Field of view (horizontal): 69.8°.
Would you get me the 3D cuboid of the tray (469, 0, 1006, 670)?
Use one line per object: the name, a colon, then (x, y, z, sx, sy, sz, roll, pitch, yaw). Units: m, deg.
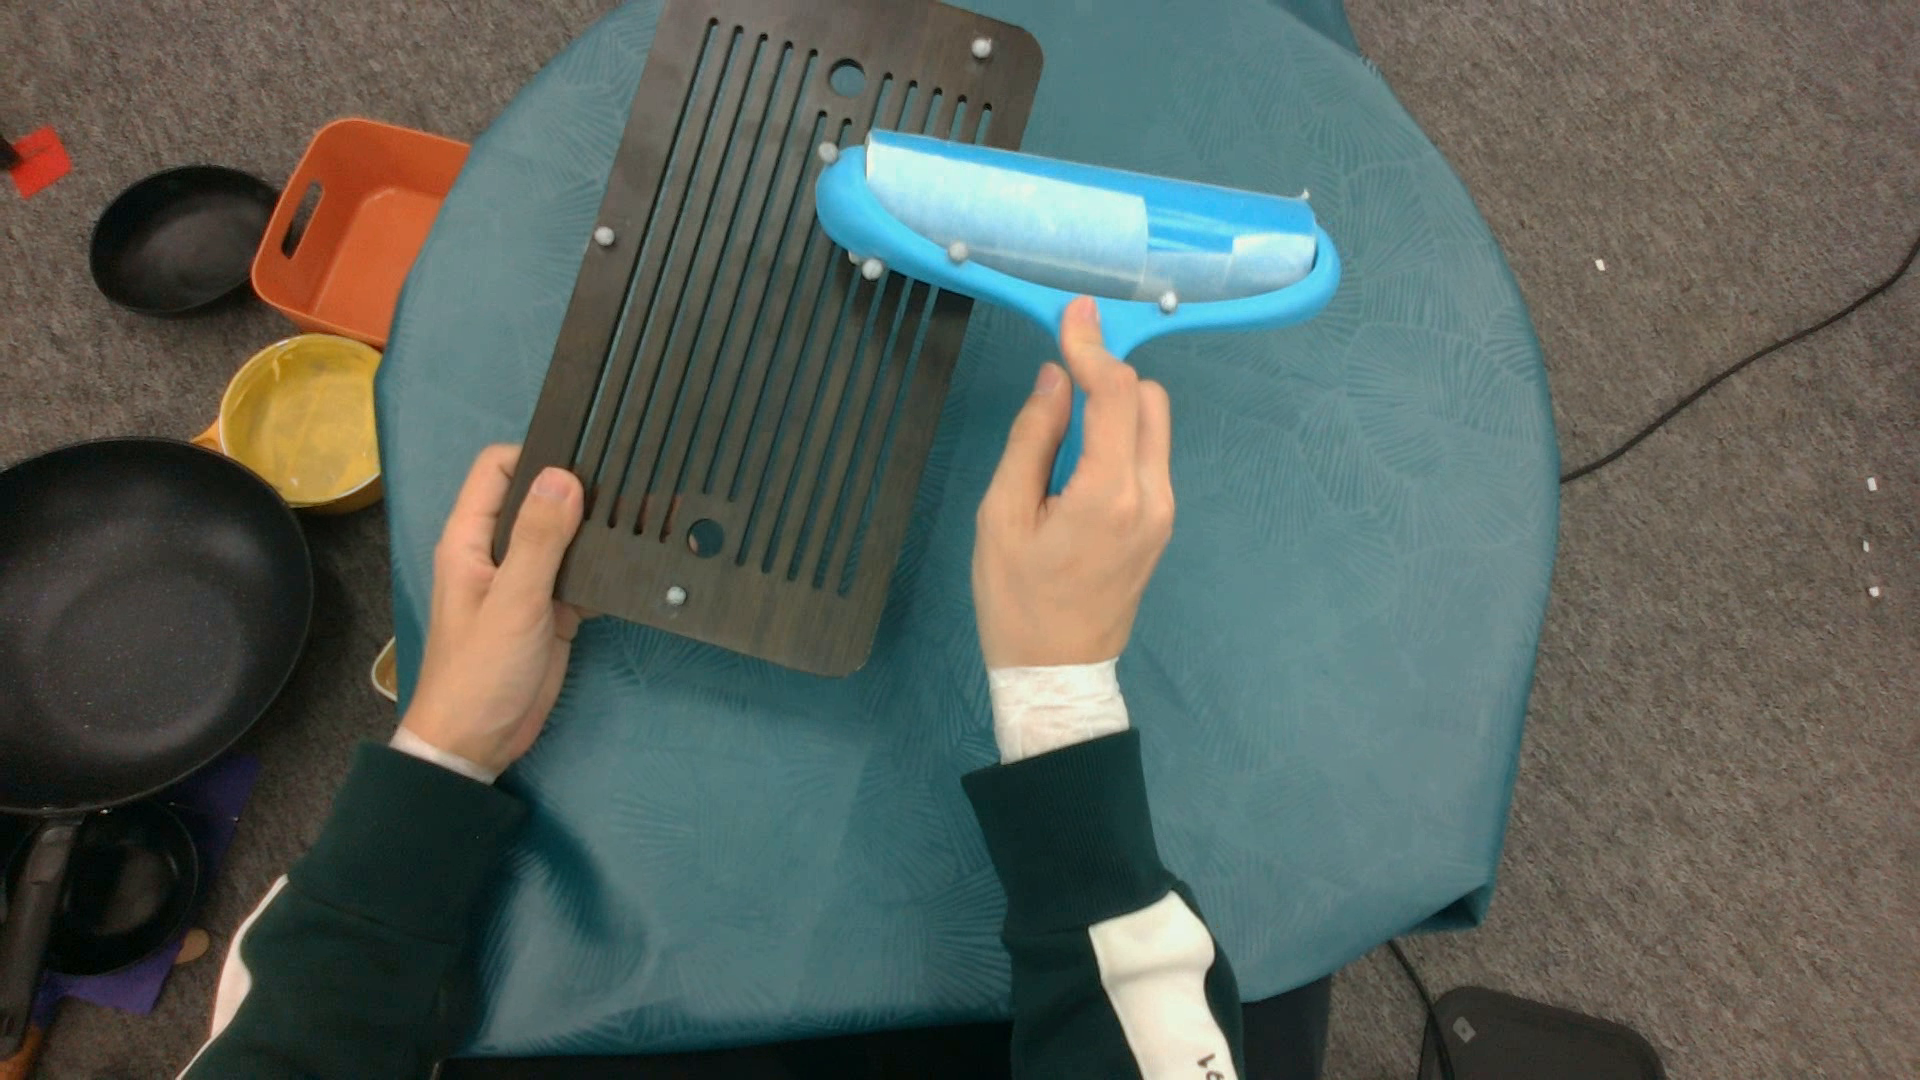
tray: (-0.095, -0.108, 0.614, 0.170, 0.018, 0.306, 14, 84, -2)

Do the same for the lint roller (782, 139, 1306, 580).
lint roller: (0.040, -0.078, 0.576, 0.229, 0.067, 0.180, 2, 73, -12)
